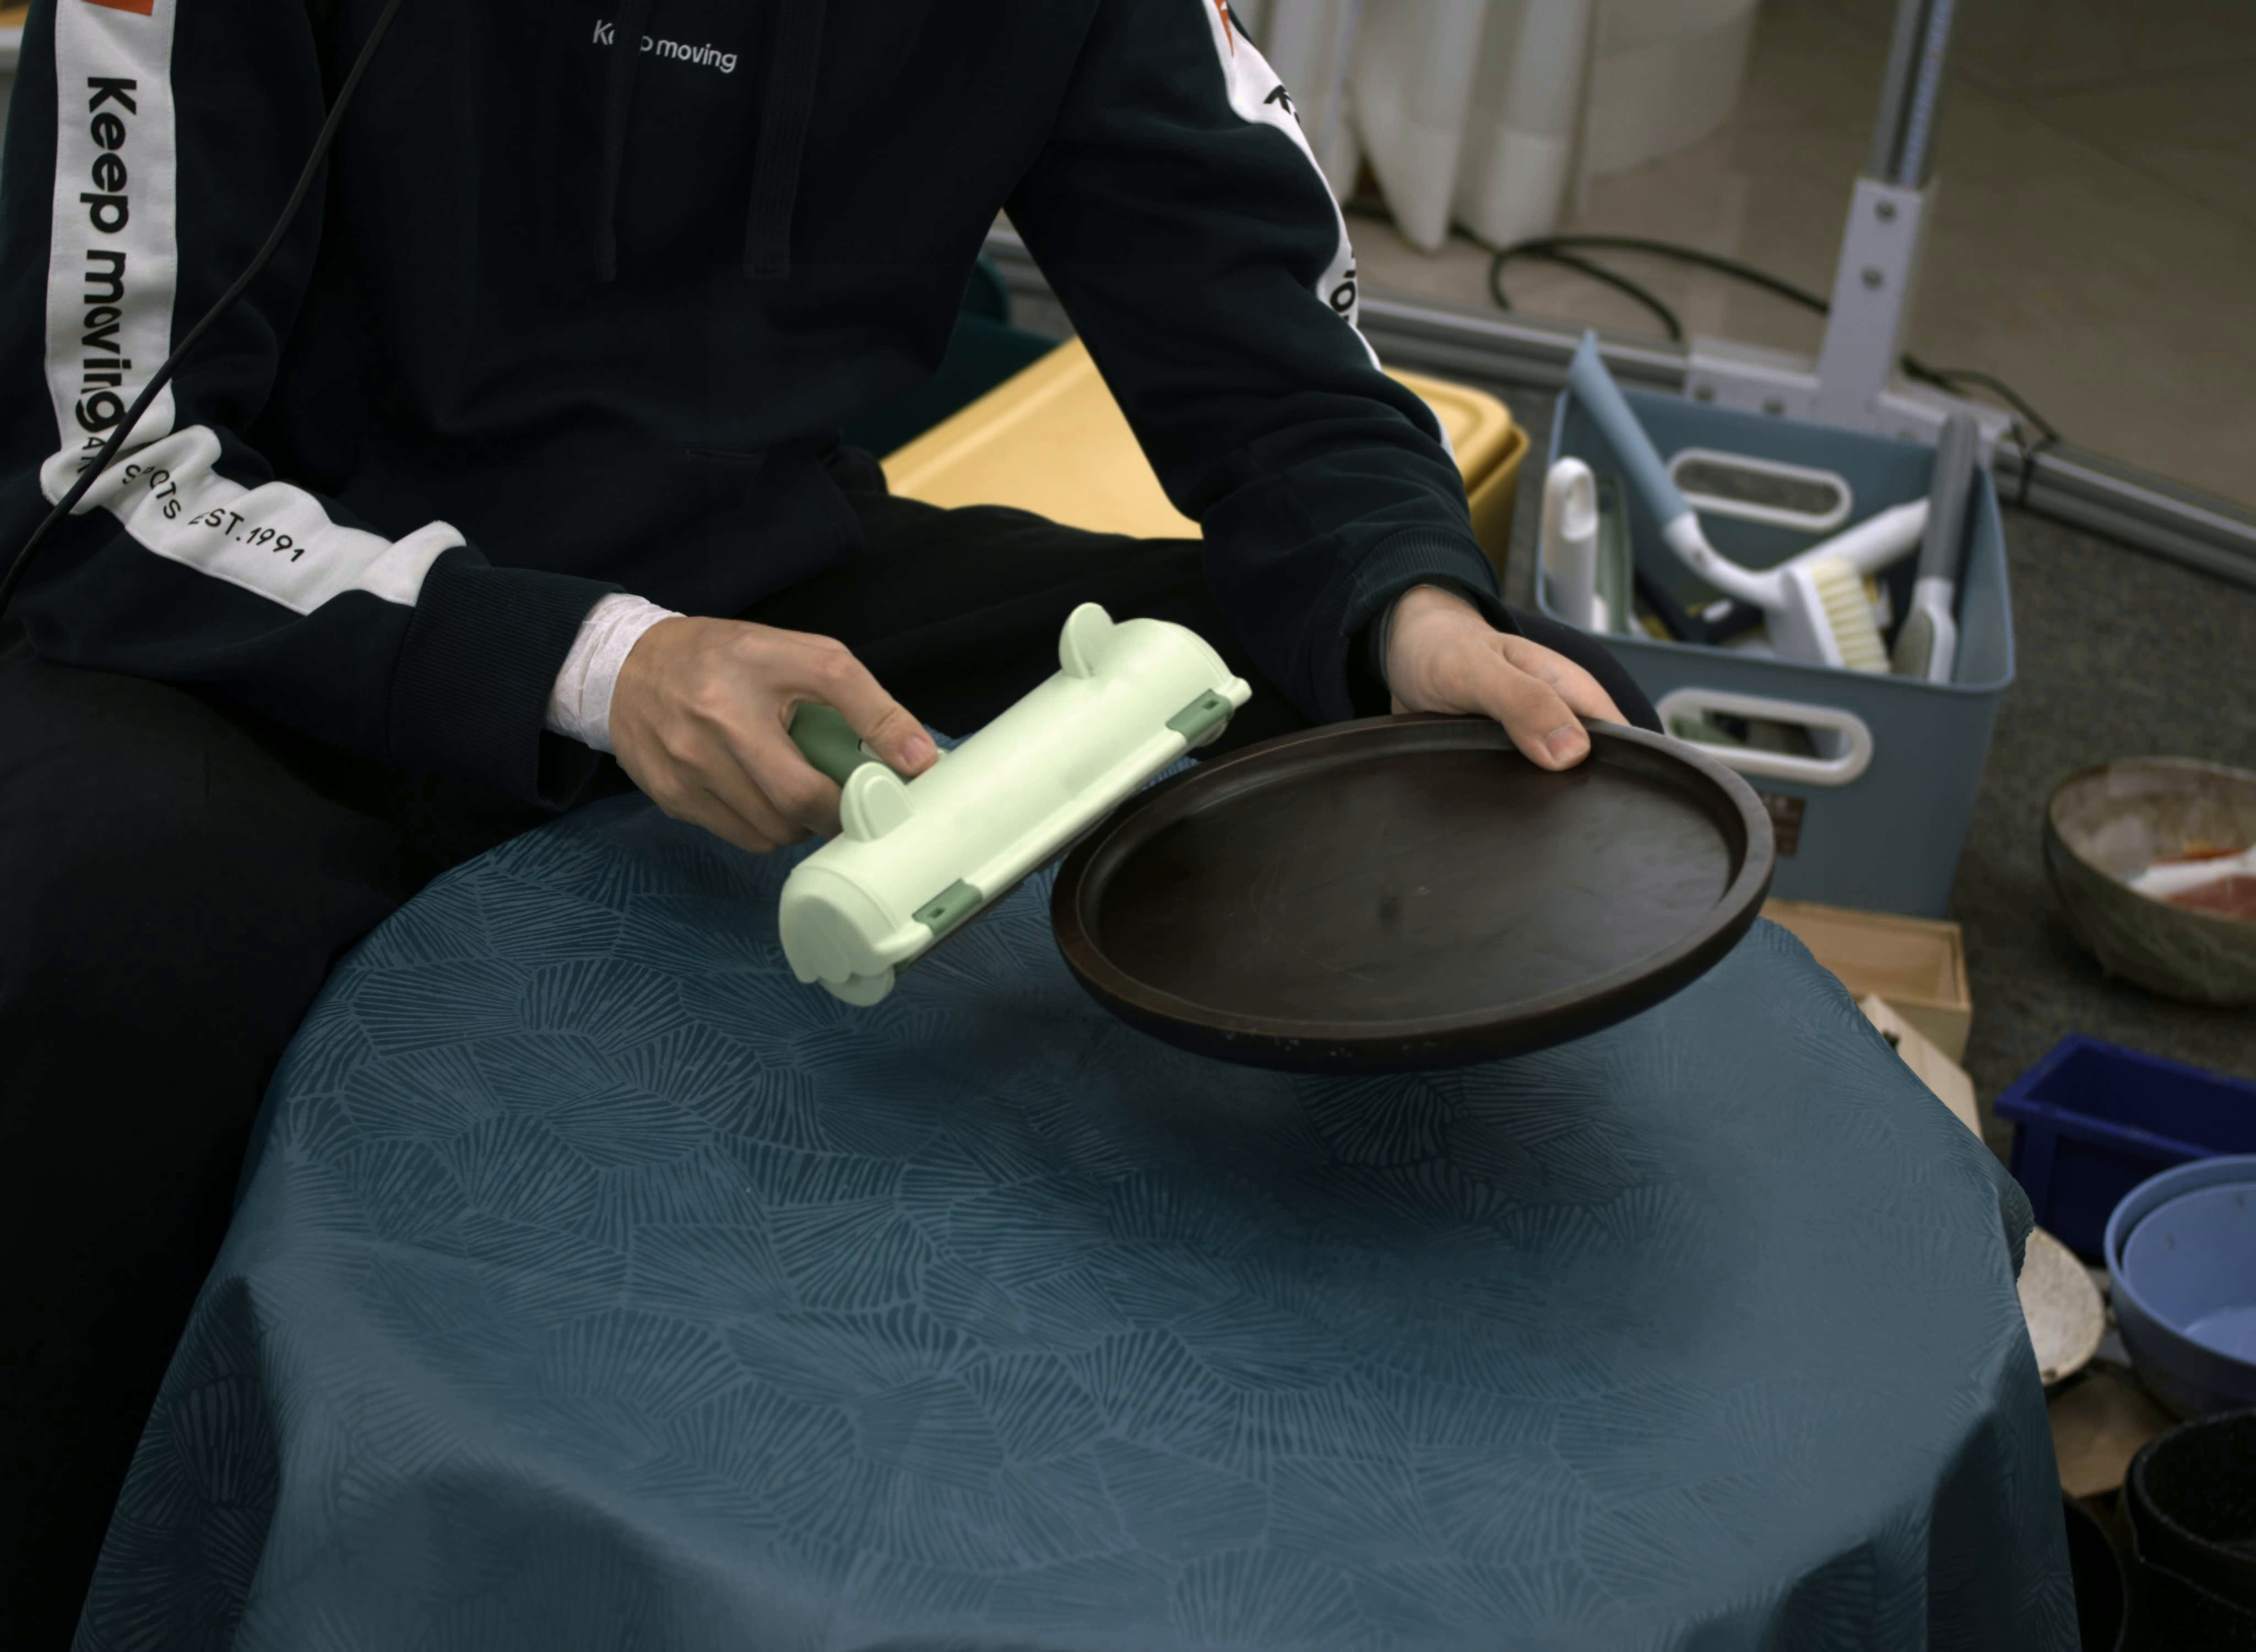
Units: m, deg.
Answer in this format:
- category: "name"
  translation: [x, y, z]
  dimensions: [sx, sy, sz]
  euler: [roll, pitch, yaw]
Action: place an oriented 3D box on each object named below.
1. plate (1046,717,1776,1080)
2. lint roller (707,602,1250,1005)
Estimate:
- category: "plate"
  translation: [0.097, 0.022, 1.836]
  dimensions: [0.254, 0.029, 0.256]
  euler: [-8, 26, 3]
- category: "lint roller"
  translation: [-0.084, -0.031, 1.885]
  dimensions: [0.184, 0.082, 0.198]
  euler: [24, 45, 34]
